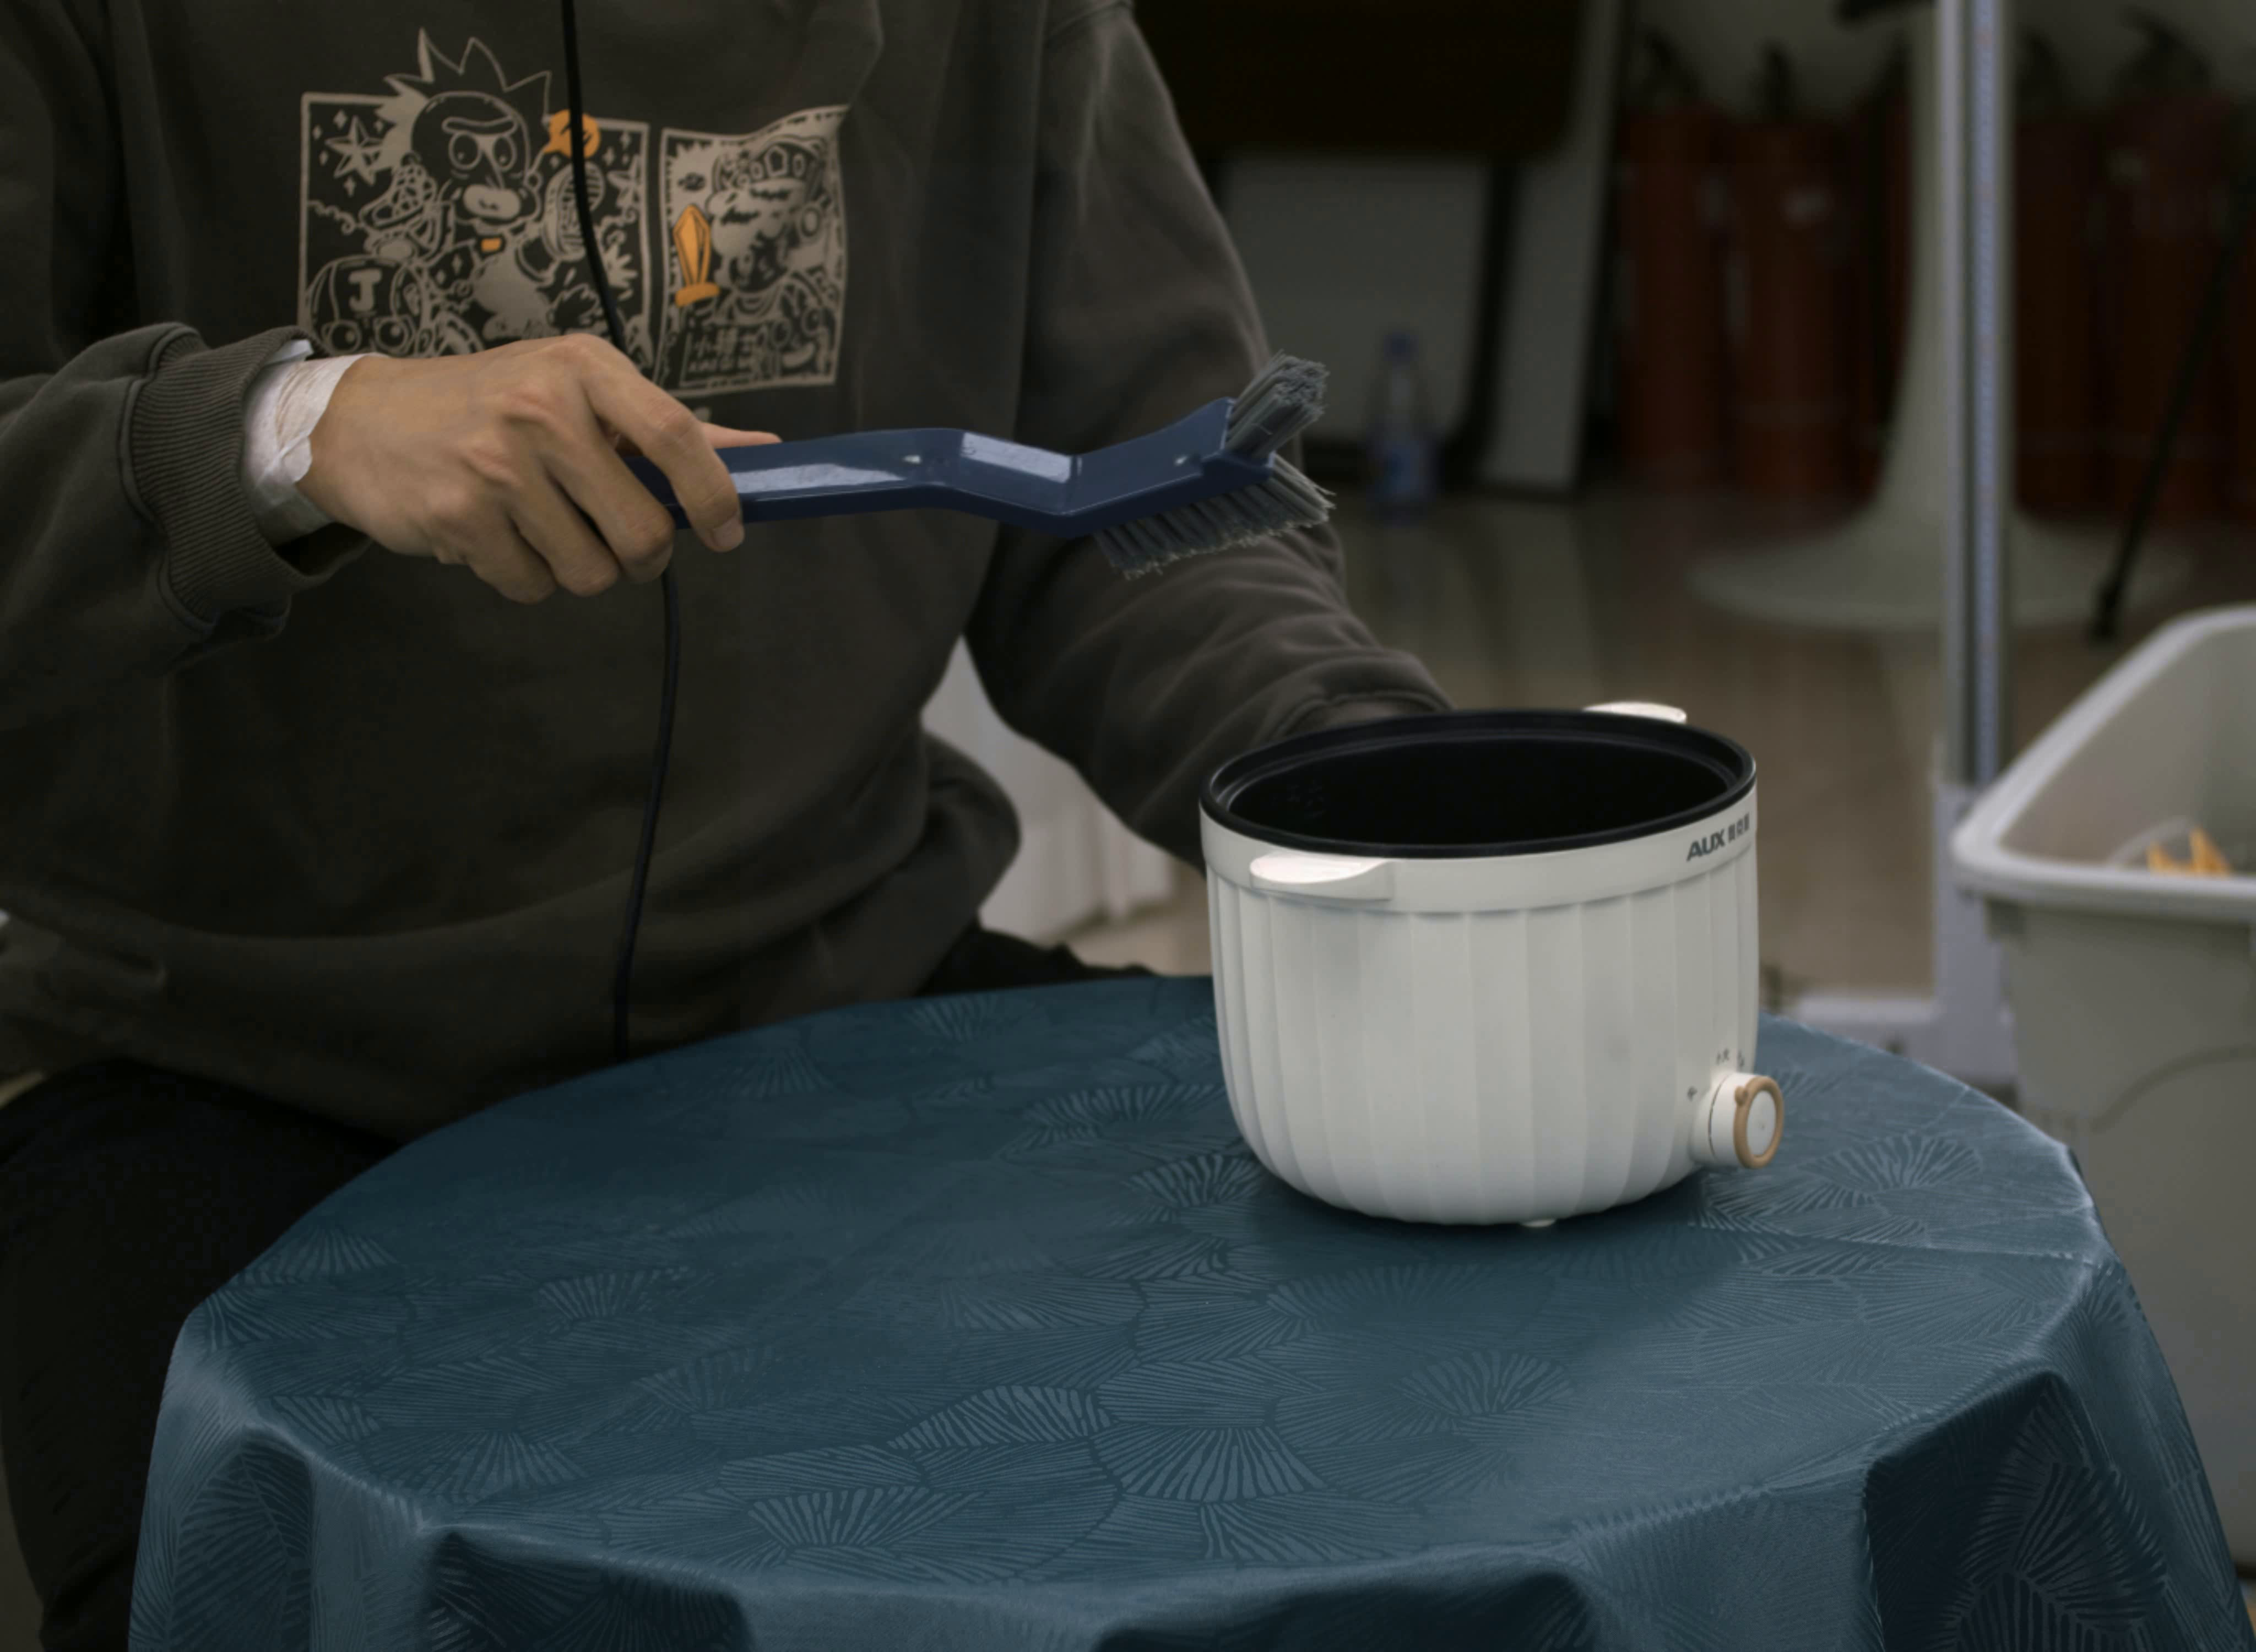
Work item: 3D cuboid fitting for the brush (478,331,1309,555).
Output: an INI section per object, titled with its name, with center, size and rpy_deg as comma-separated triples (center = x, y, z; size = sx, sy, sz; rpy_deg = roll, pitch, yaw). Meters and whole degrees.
[brush]
center = -0.078, -0.116, 1.664
size = 0.271, 0.095, 0.034
rpy_deg = 0, 55, 13

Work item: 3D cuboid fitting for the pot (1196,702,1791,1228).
[pot]
center = 0.122, 0.048, 1.747
size = 0.191, 0.144, 0.236
rpy_deg = 0, 15, 35
